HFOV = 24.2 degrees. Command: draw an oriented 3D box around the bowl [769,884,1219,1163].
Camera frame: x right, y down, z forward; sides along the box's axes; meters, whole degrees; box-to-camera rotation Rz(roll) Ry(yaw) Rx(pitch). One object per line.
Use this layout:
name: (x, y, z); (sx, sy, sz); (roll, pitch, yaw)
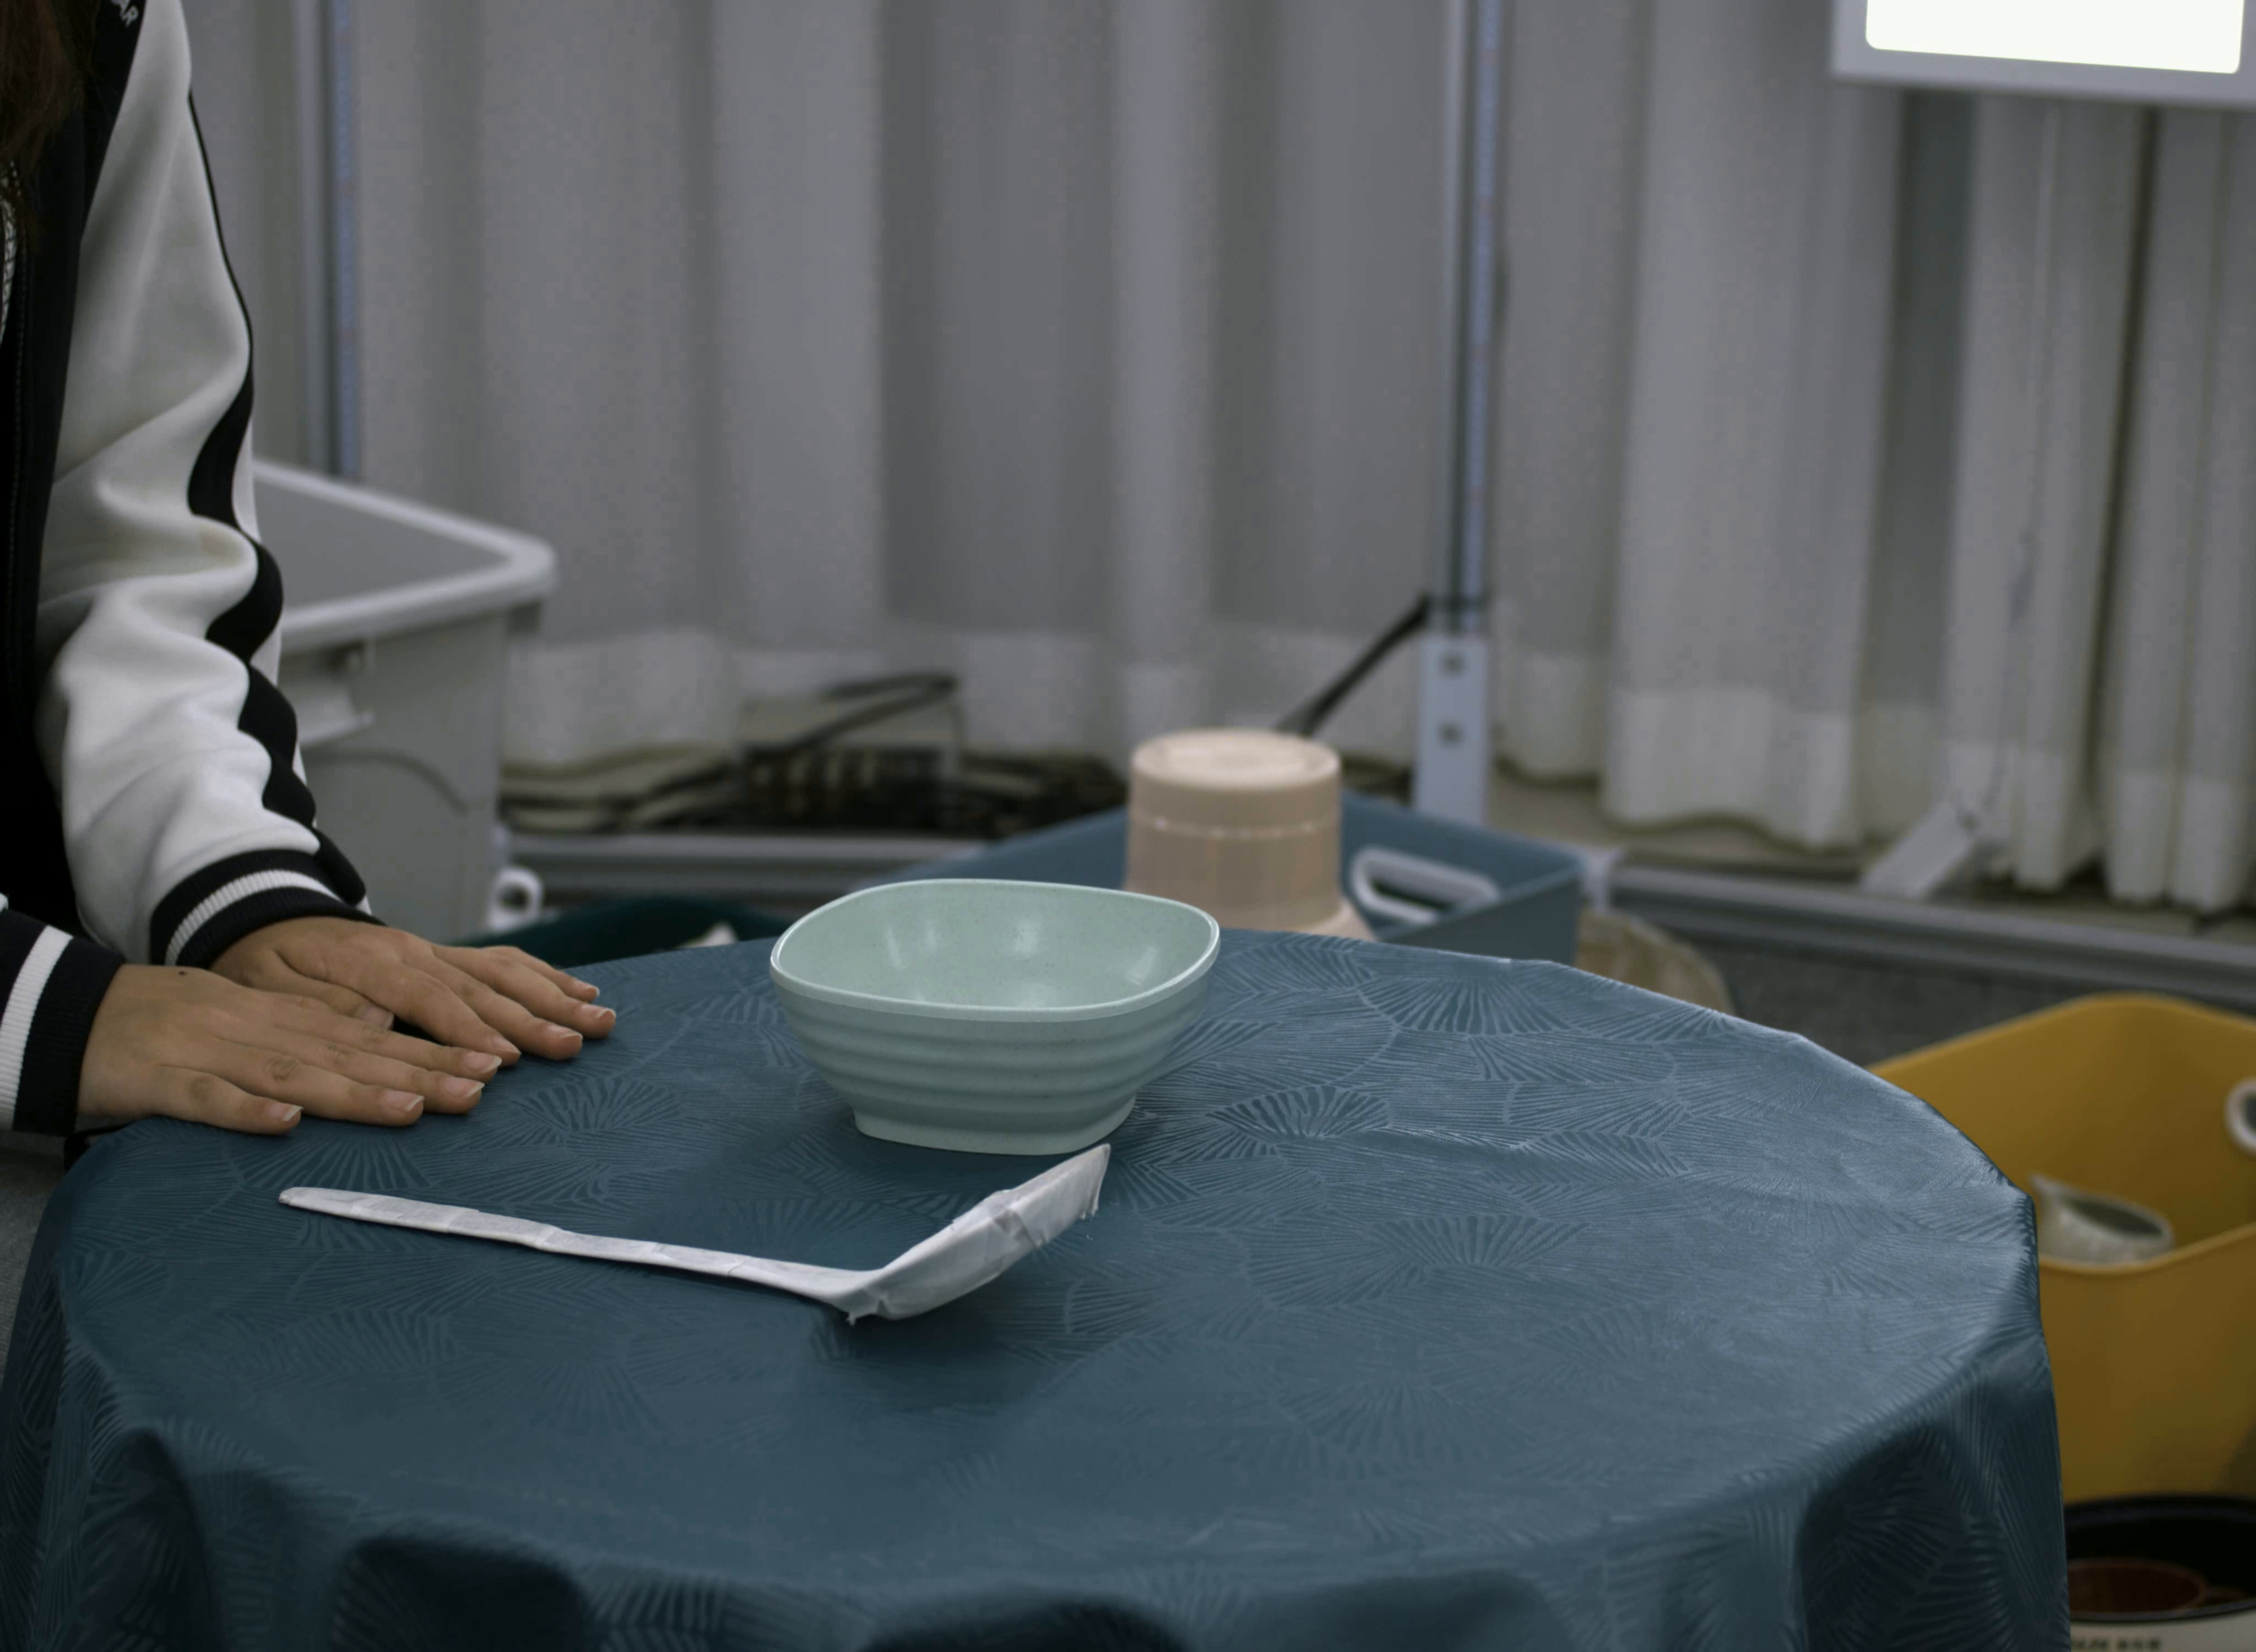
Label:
bowl: (-0.042, 0.066, 1.687); (0.151, 0.059, 0.150); (1, 16, 0)

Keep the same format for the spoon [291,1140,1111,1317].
spoon: (-0.131, 0.100, 1.552); (0.274, 0.060, 0.101); (9, 14, 27)
